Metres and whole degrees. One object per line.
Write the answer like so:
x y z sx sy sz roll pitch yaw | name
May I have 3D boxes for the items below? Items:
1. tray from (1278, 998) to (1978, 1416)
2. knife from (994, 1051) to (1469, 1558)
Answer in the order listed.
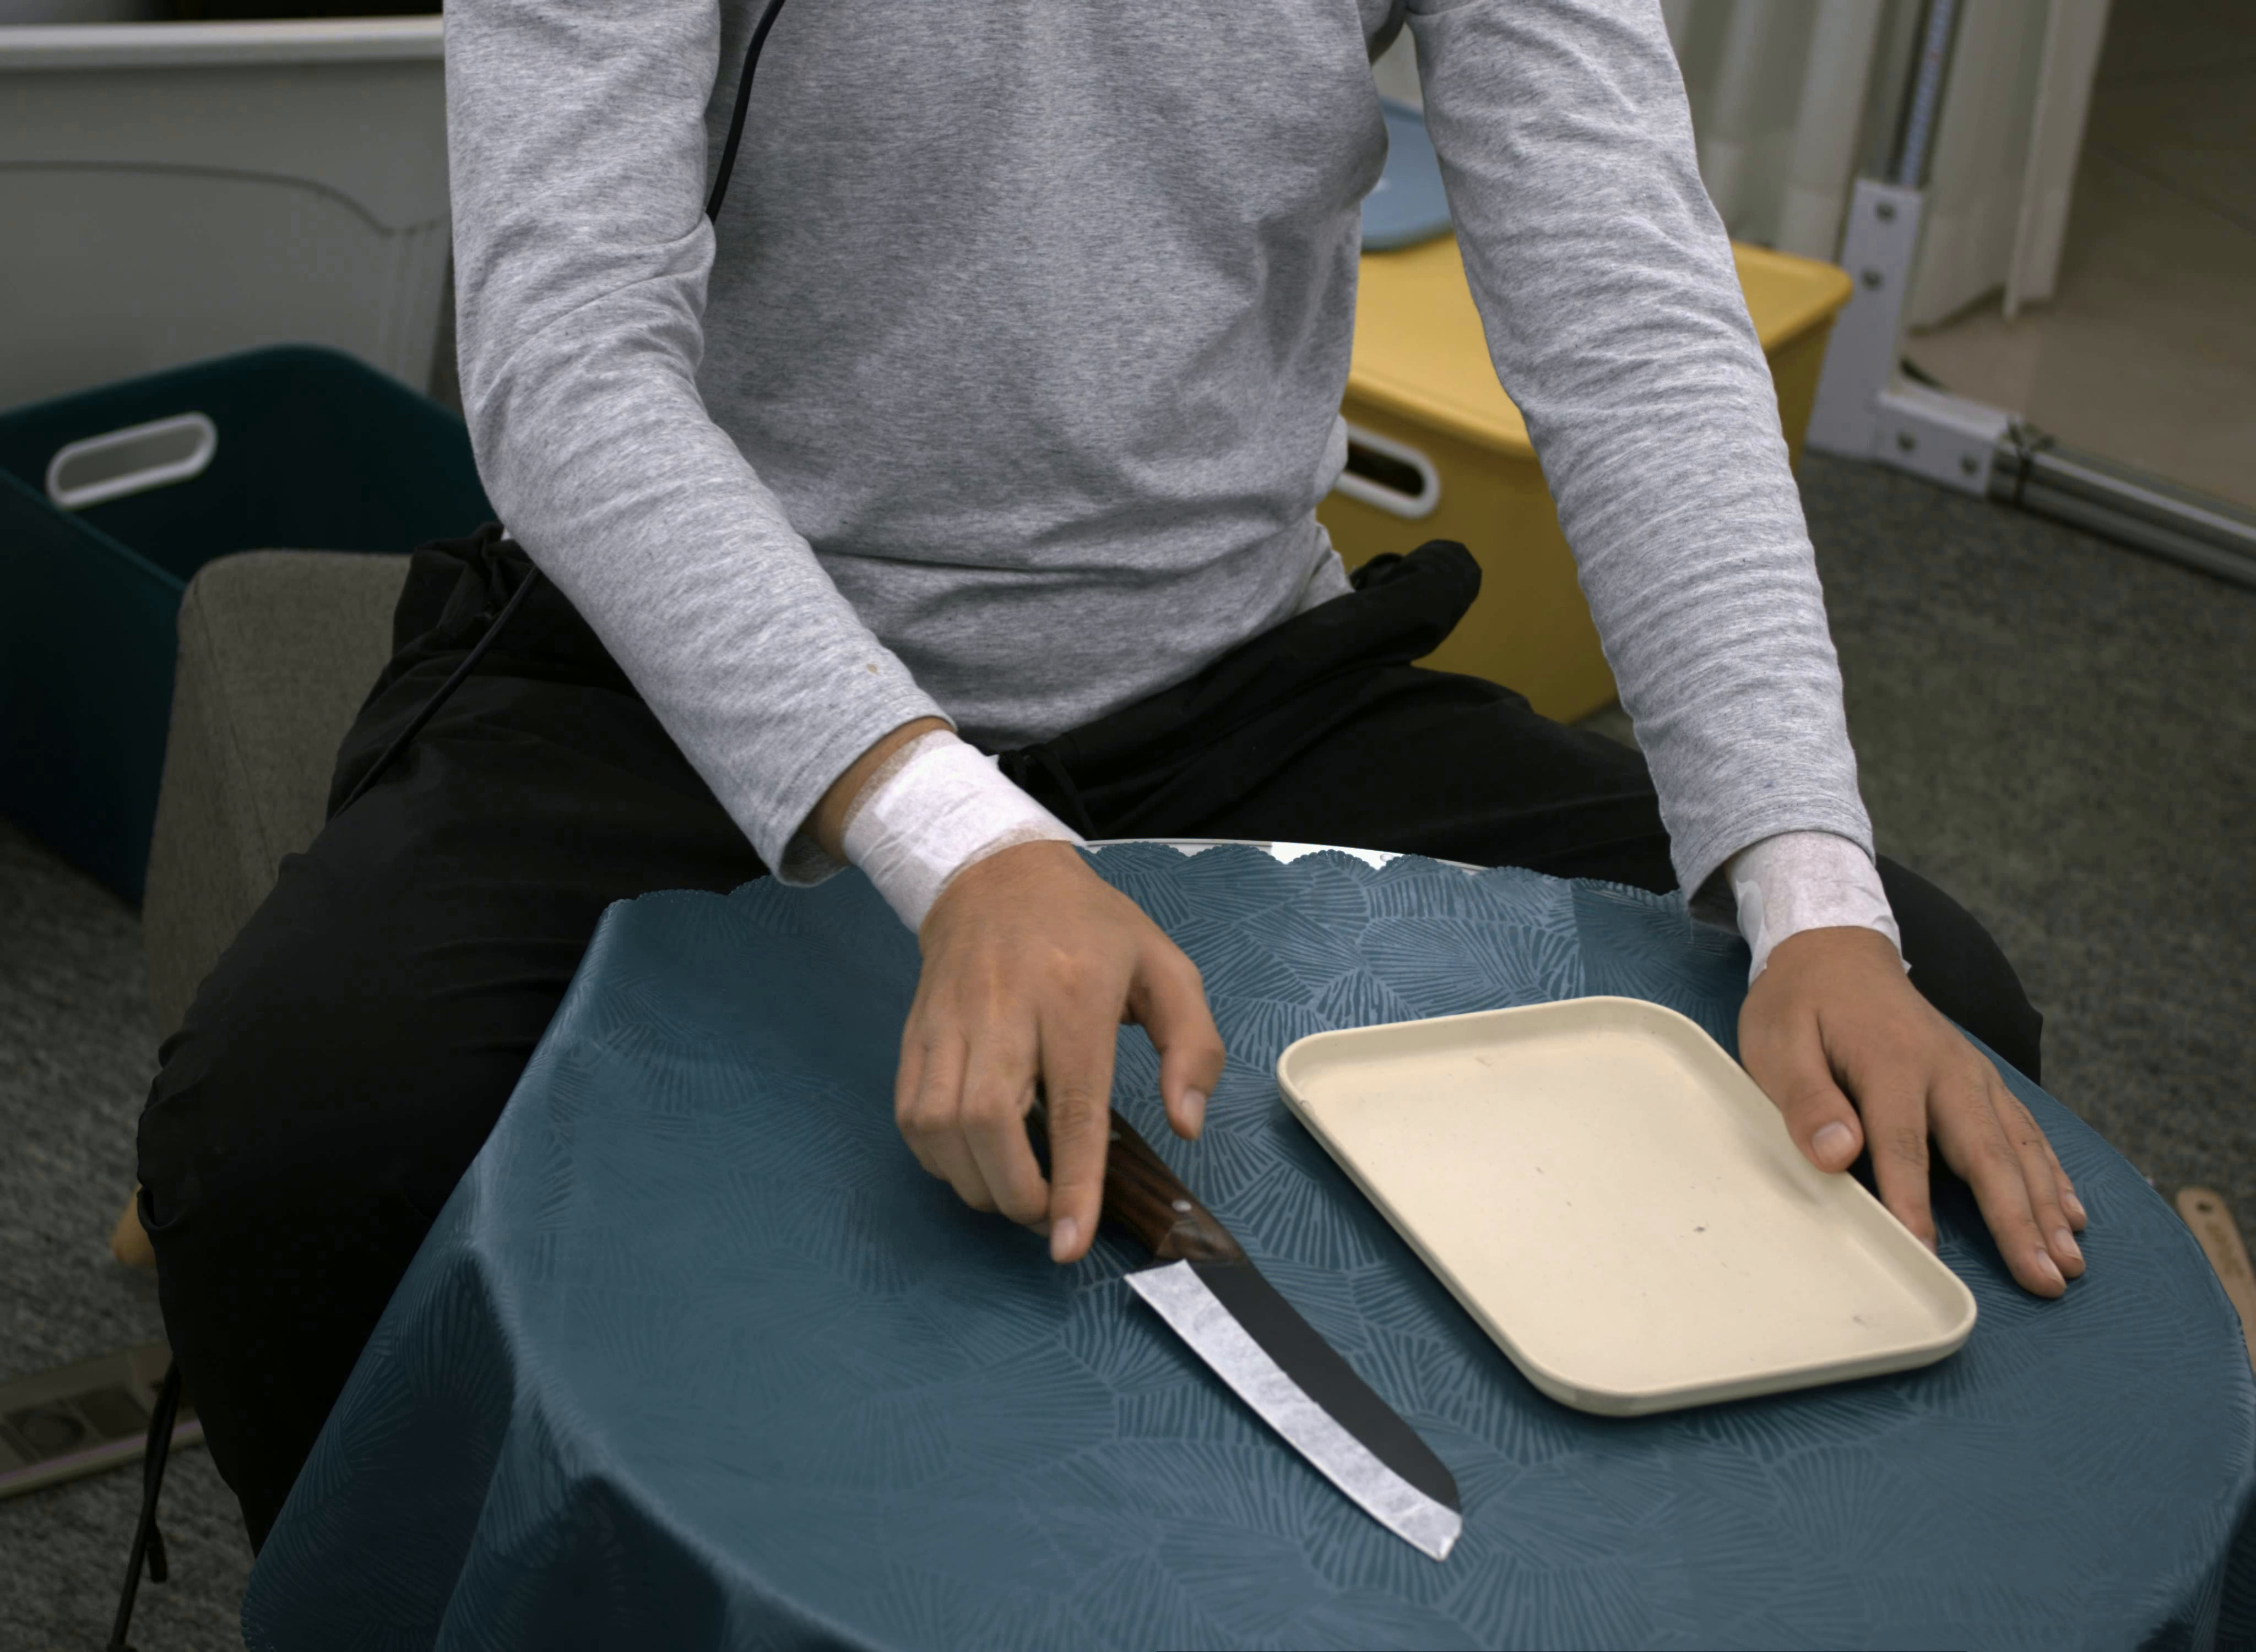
0.166 0.128 1.816 0.170 0.017 0.242 -6 29 -24 | tray
0.030 0.154 1.735 0.050 0.020 0.292 -9 33 -28 | knife
